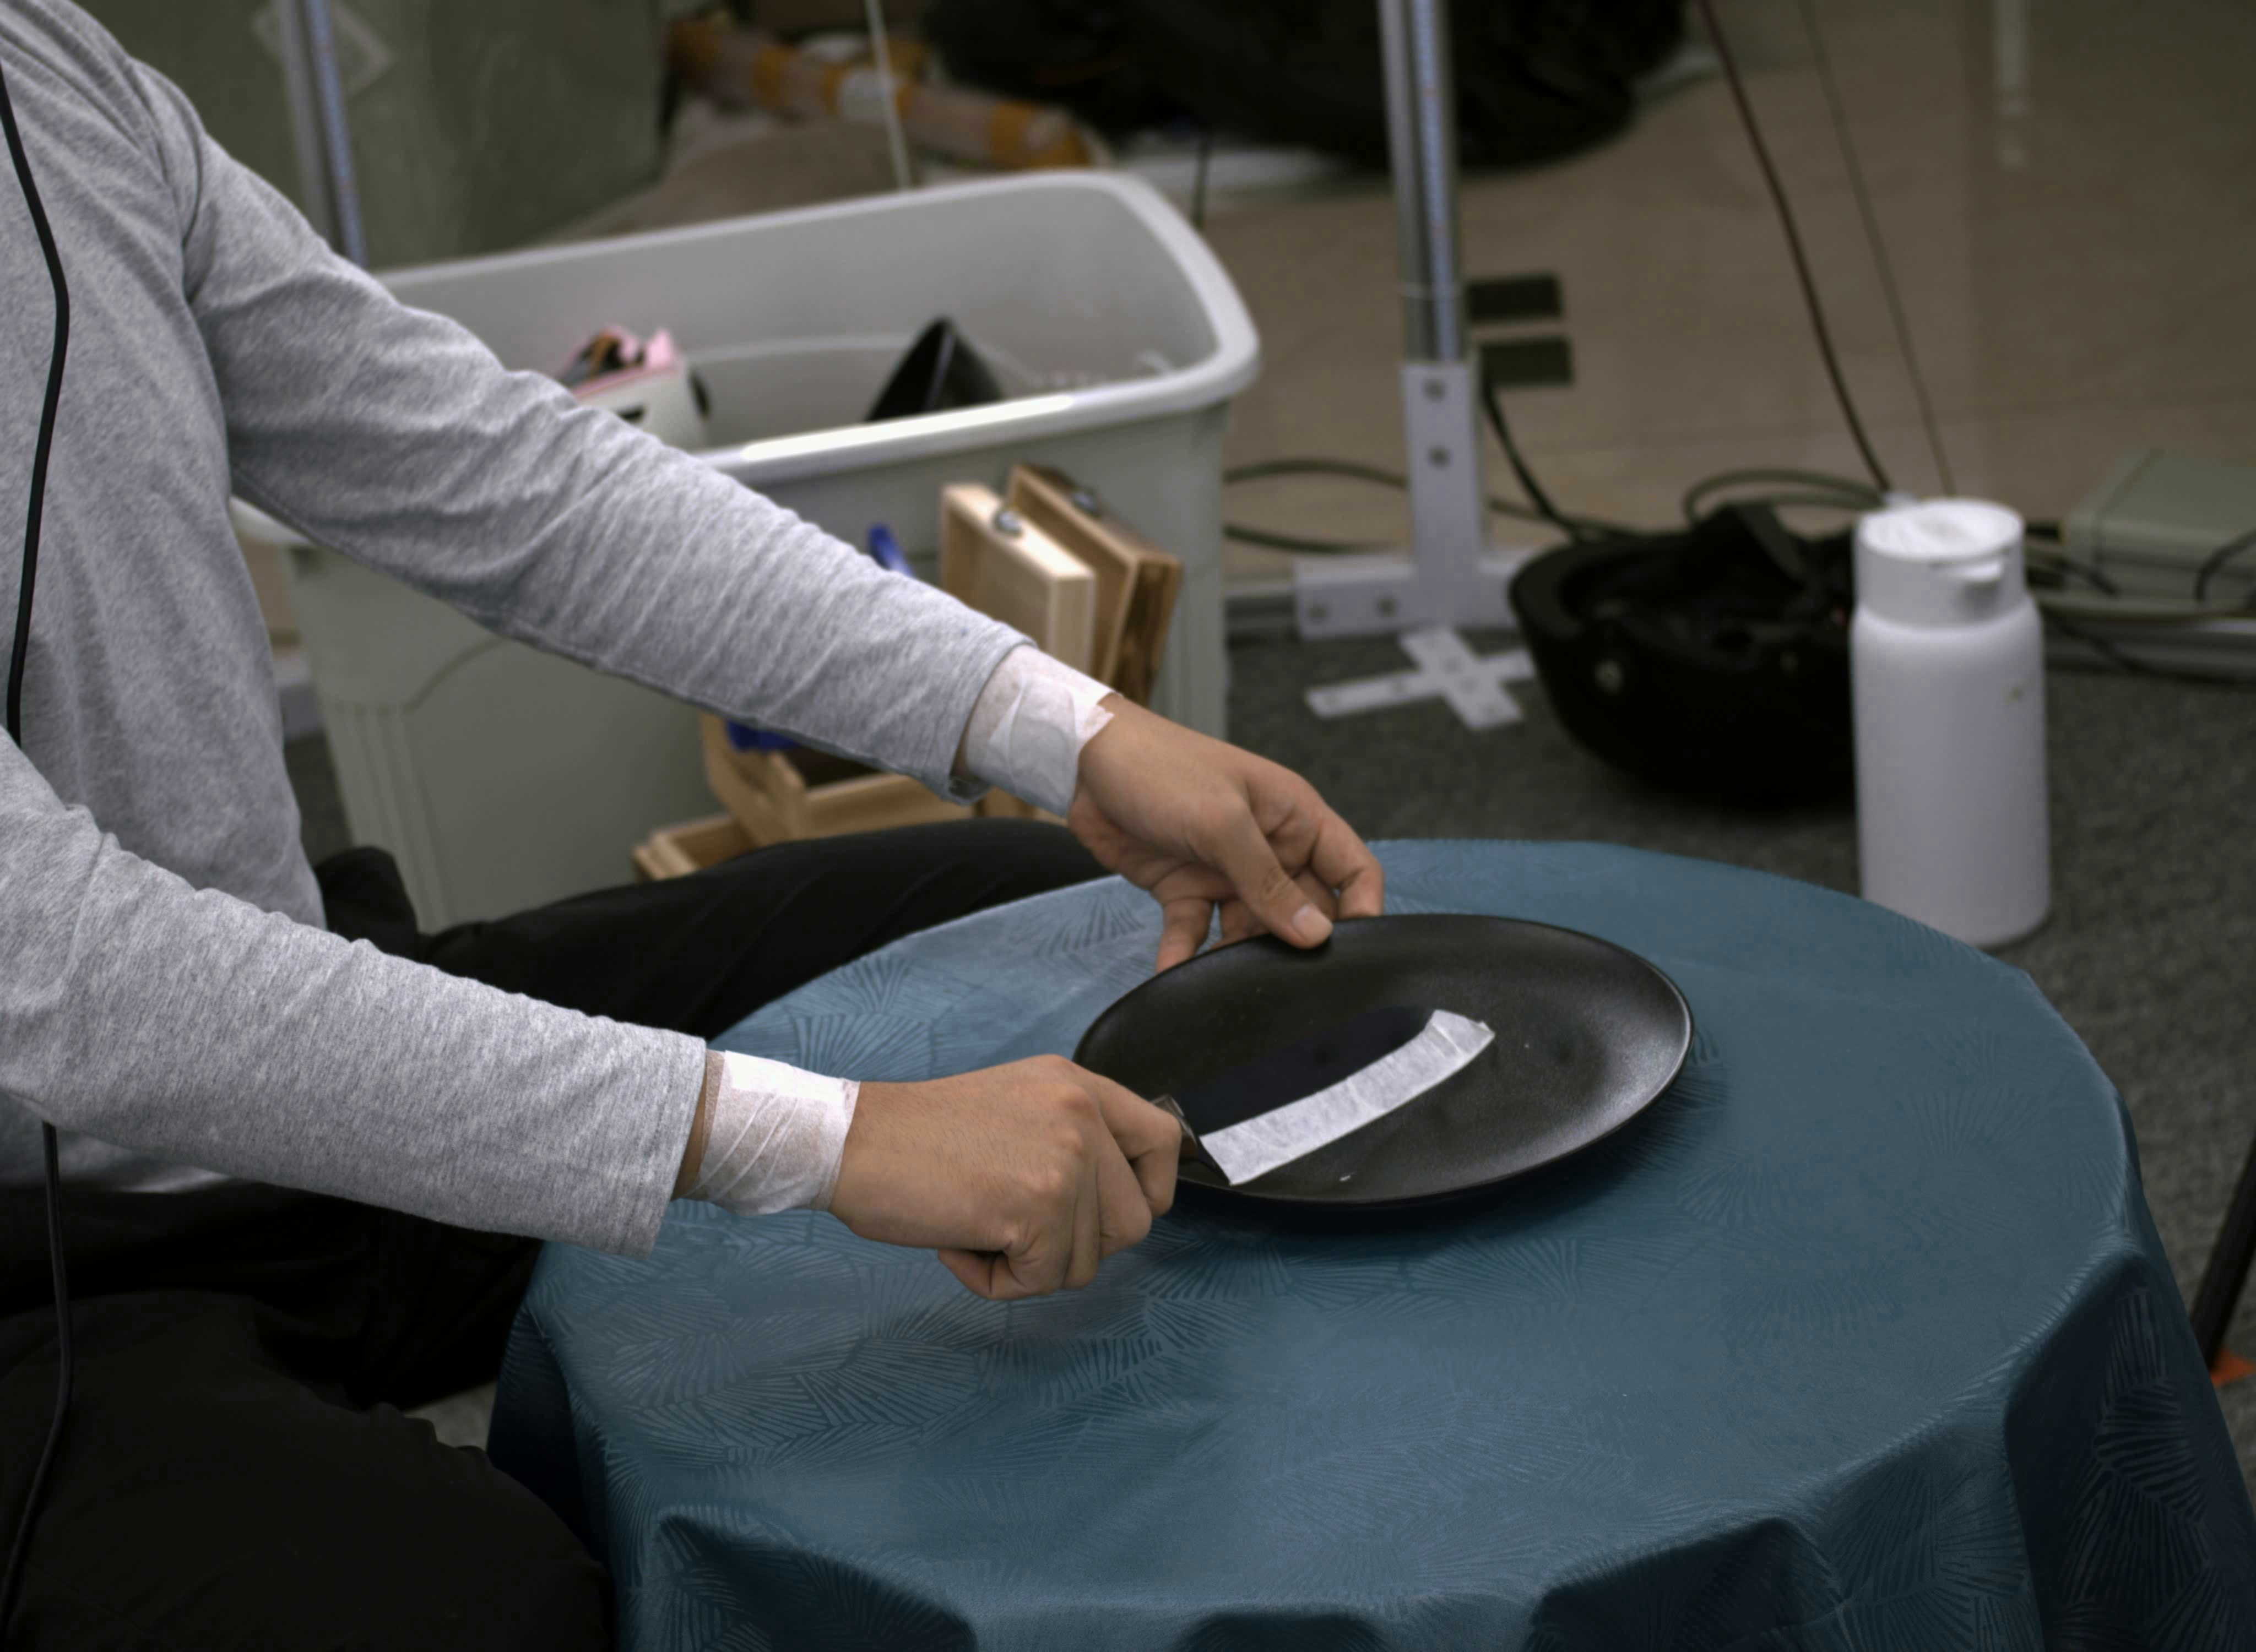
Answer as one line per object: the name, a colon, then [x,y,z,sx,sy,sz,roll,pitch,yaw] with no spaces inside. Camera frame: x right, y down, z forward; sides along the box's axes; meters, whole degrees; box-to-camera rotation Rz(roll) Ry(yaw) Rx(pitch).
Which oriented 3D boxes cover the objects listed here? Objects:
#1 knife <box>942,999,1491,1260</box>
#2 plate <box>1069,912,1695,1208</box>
knife: [0.039,0.111,2.117,0.287,0.020,0.050,-18,64,-42]
plate: [0.098,0.095,2.194,0.244,0.024,0.241,-6,25,3]
